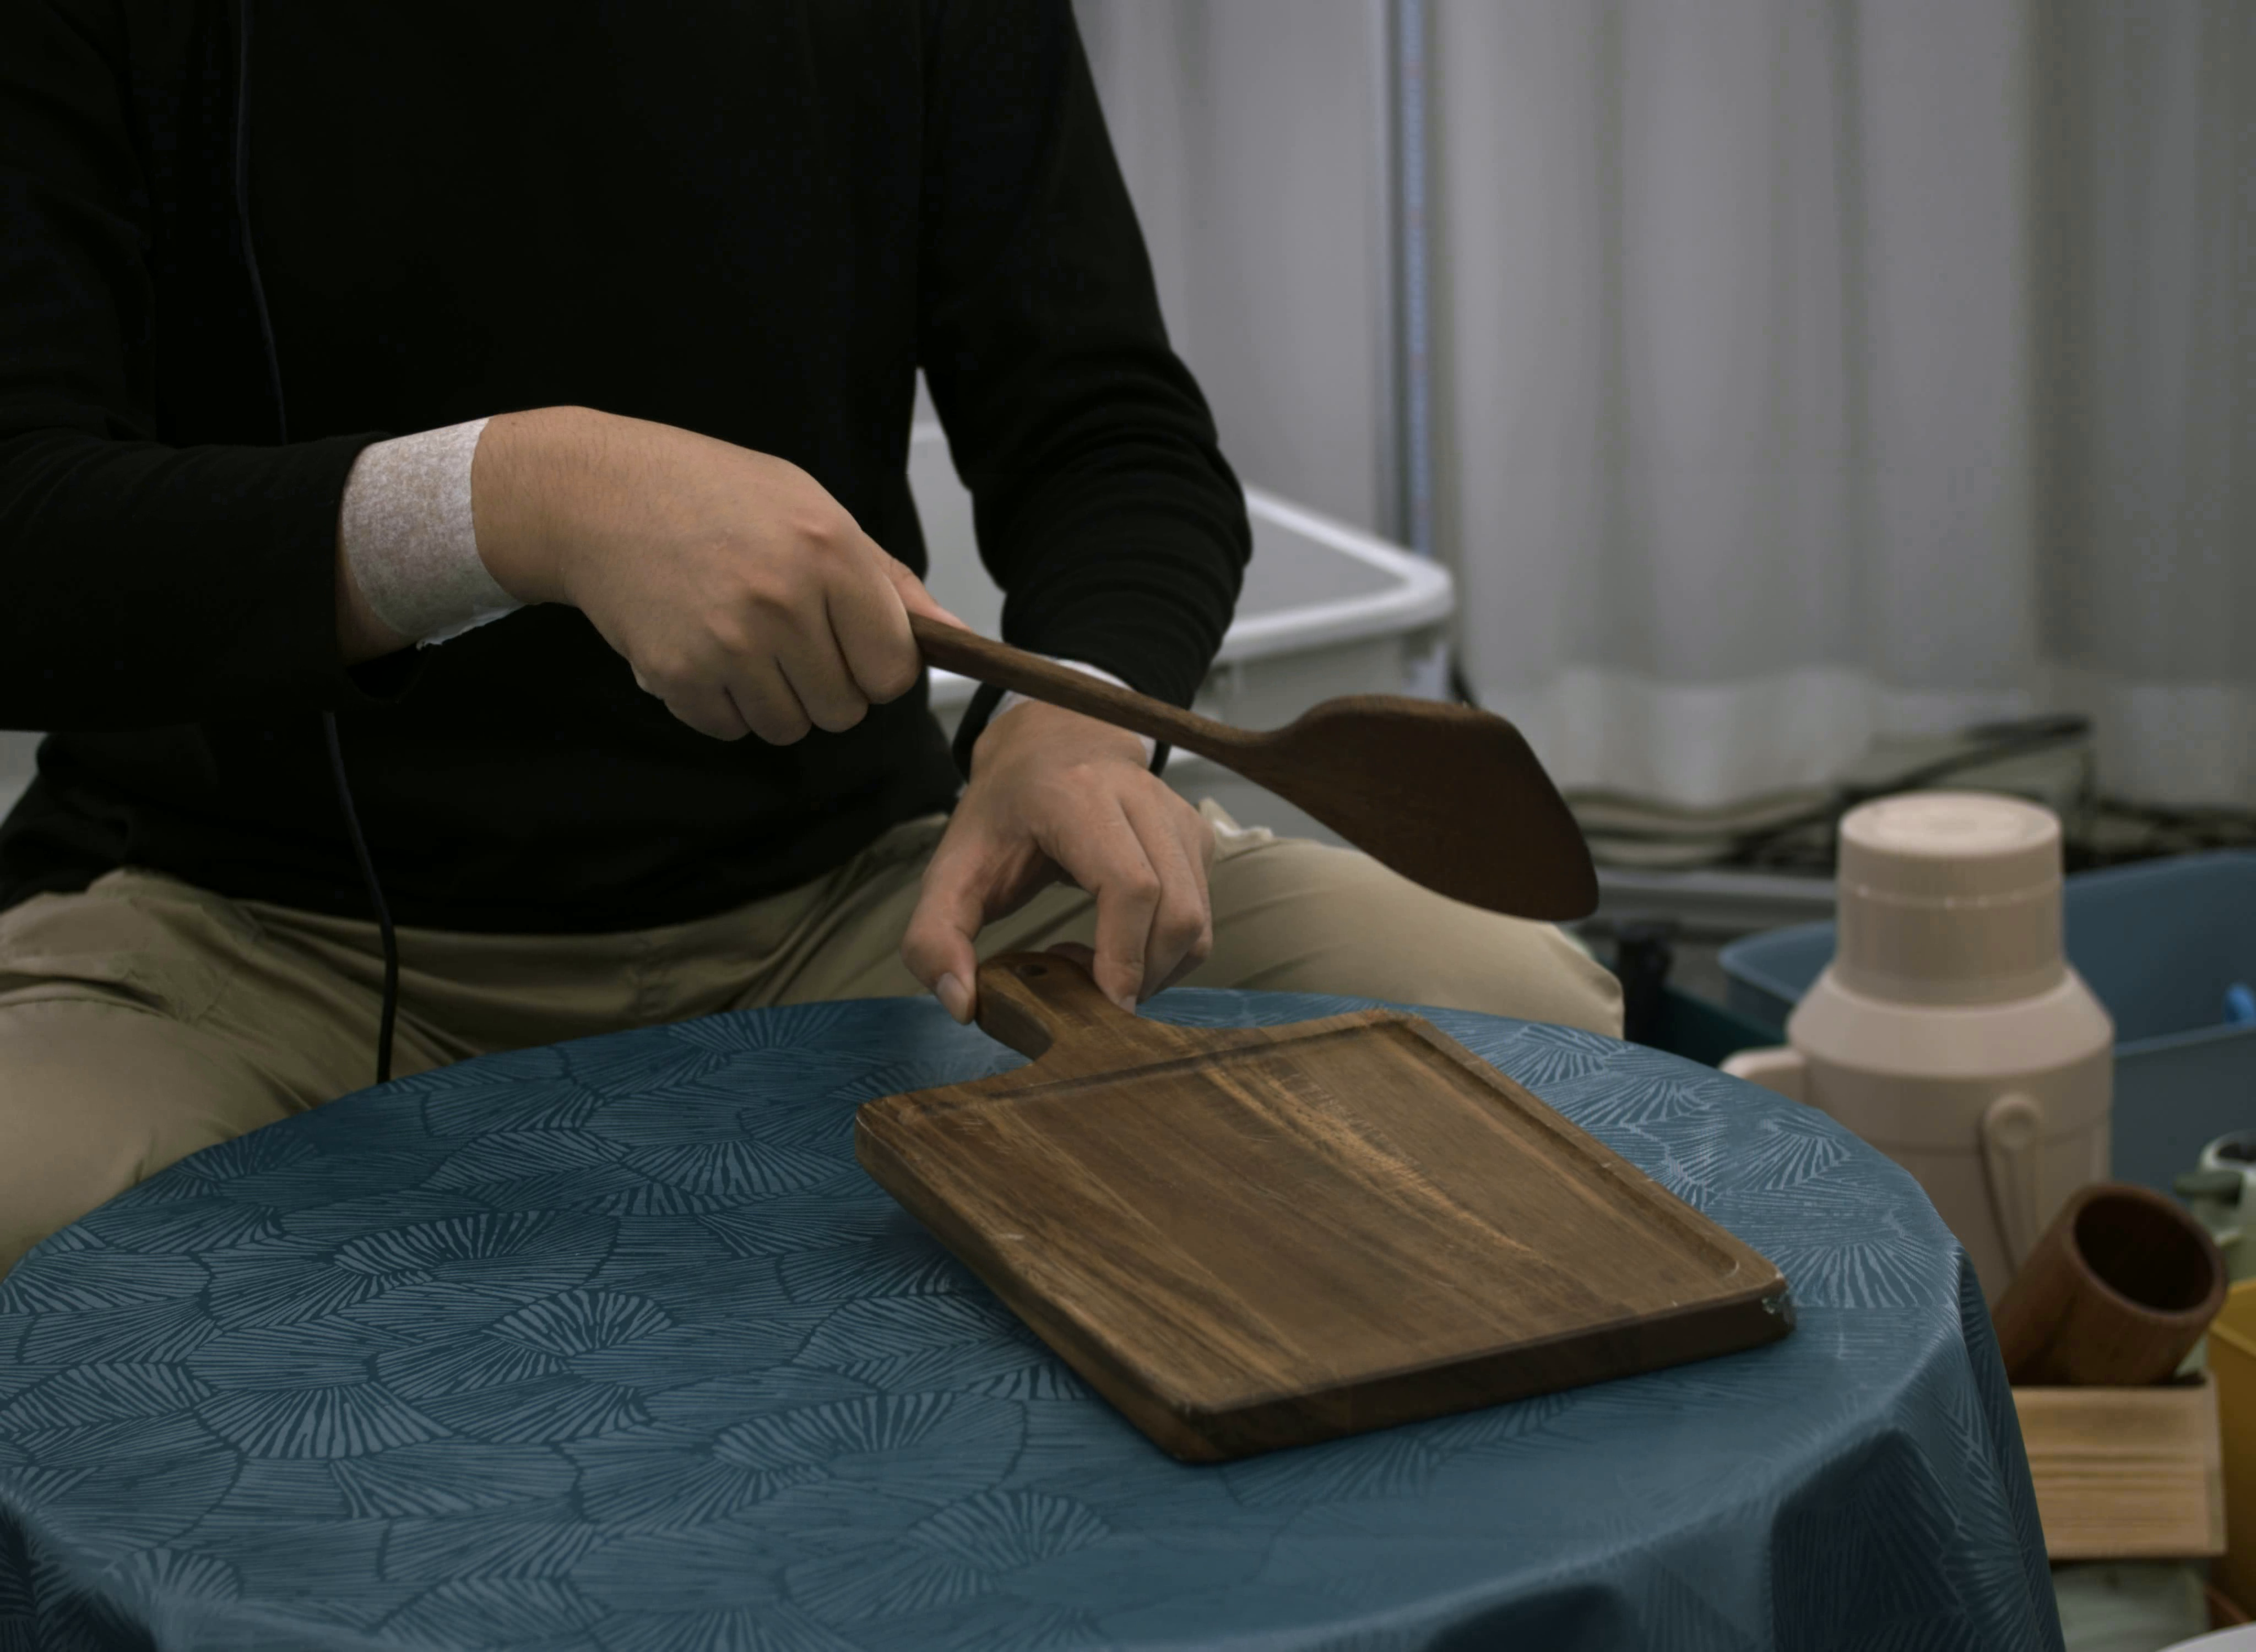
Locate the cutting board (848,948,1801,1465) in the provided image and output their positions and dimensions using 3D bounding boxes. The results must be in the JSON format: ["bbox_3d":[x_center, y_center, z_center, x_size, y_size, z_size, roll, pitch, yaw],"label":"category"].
[{"bbox_3d":[0.032,0.101,1.666,0.200,0.023,0.355,-9,20,-23],"label":"cutting board"}]

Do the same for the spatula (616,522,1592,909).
[{"bbox_3d":[-0.019,-0.046,1.683,0.388,0.095,0.016,18,60,38],"label":"spatula"}]
